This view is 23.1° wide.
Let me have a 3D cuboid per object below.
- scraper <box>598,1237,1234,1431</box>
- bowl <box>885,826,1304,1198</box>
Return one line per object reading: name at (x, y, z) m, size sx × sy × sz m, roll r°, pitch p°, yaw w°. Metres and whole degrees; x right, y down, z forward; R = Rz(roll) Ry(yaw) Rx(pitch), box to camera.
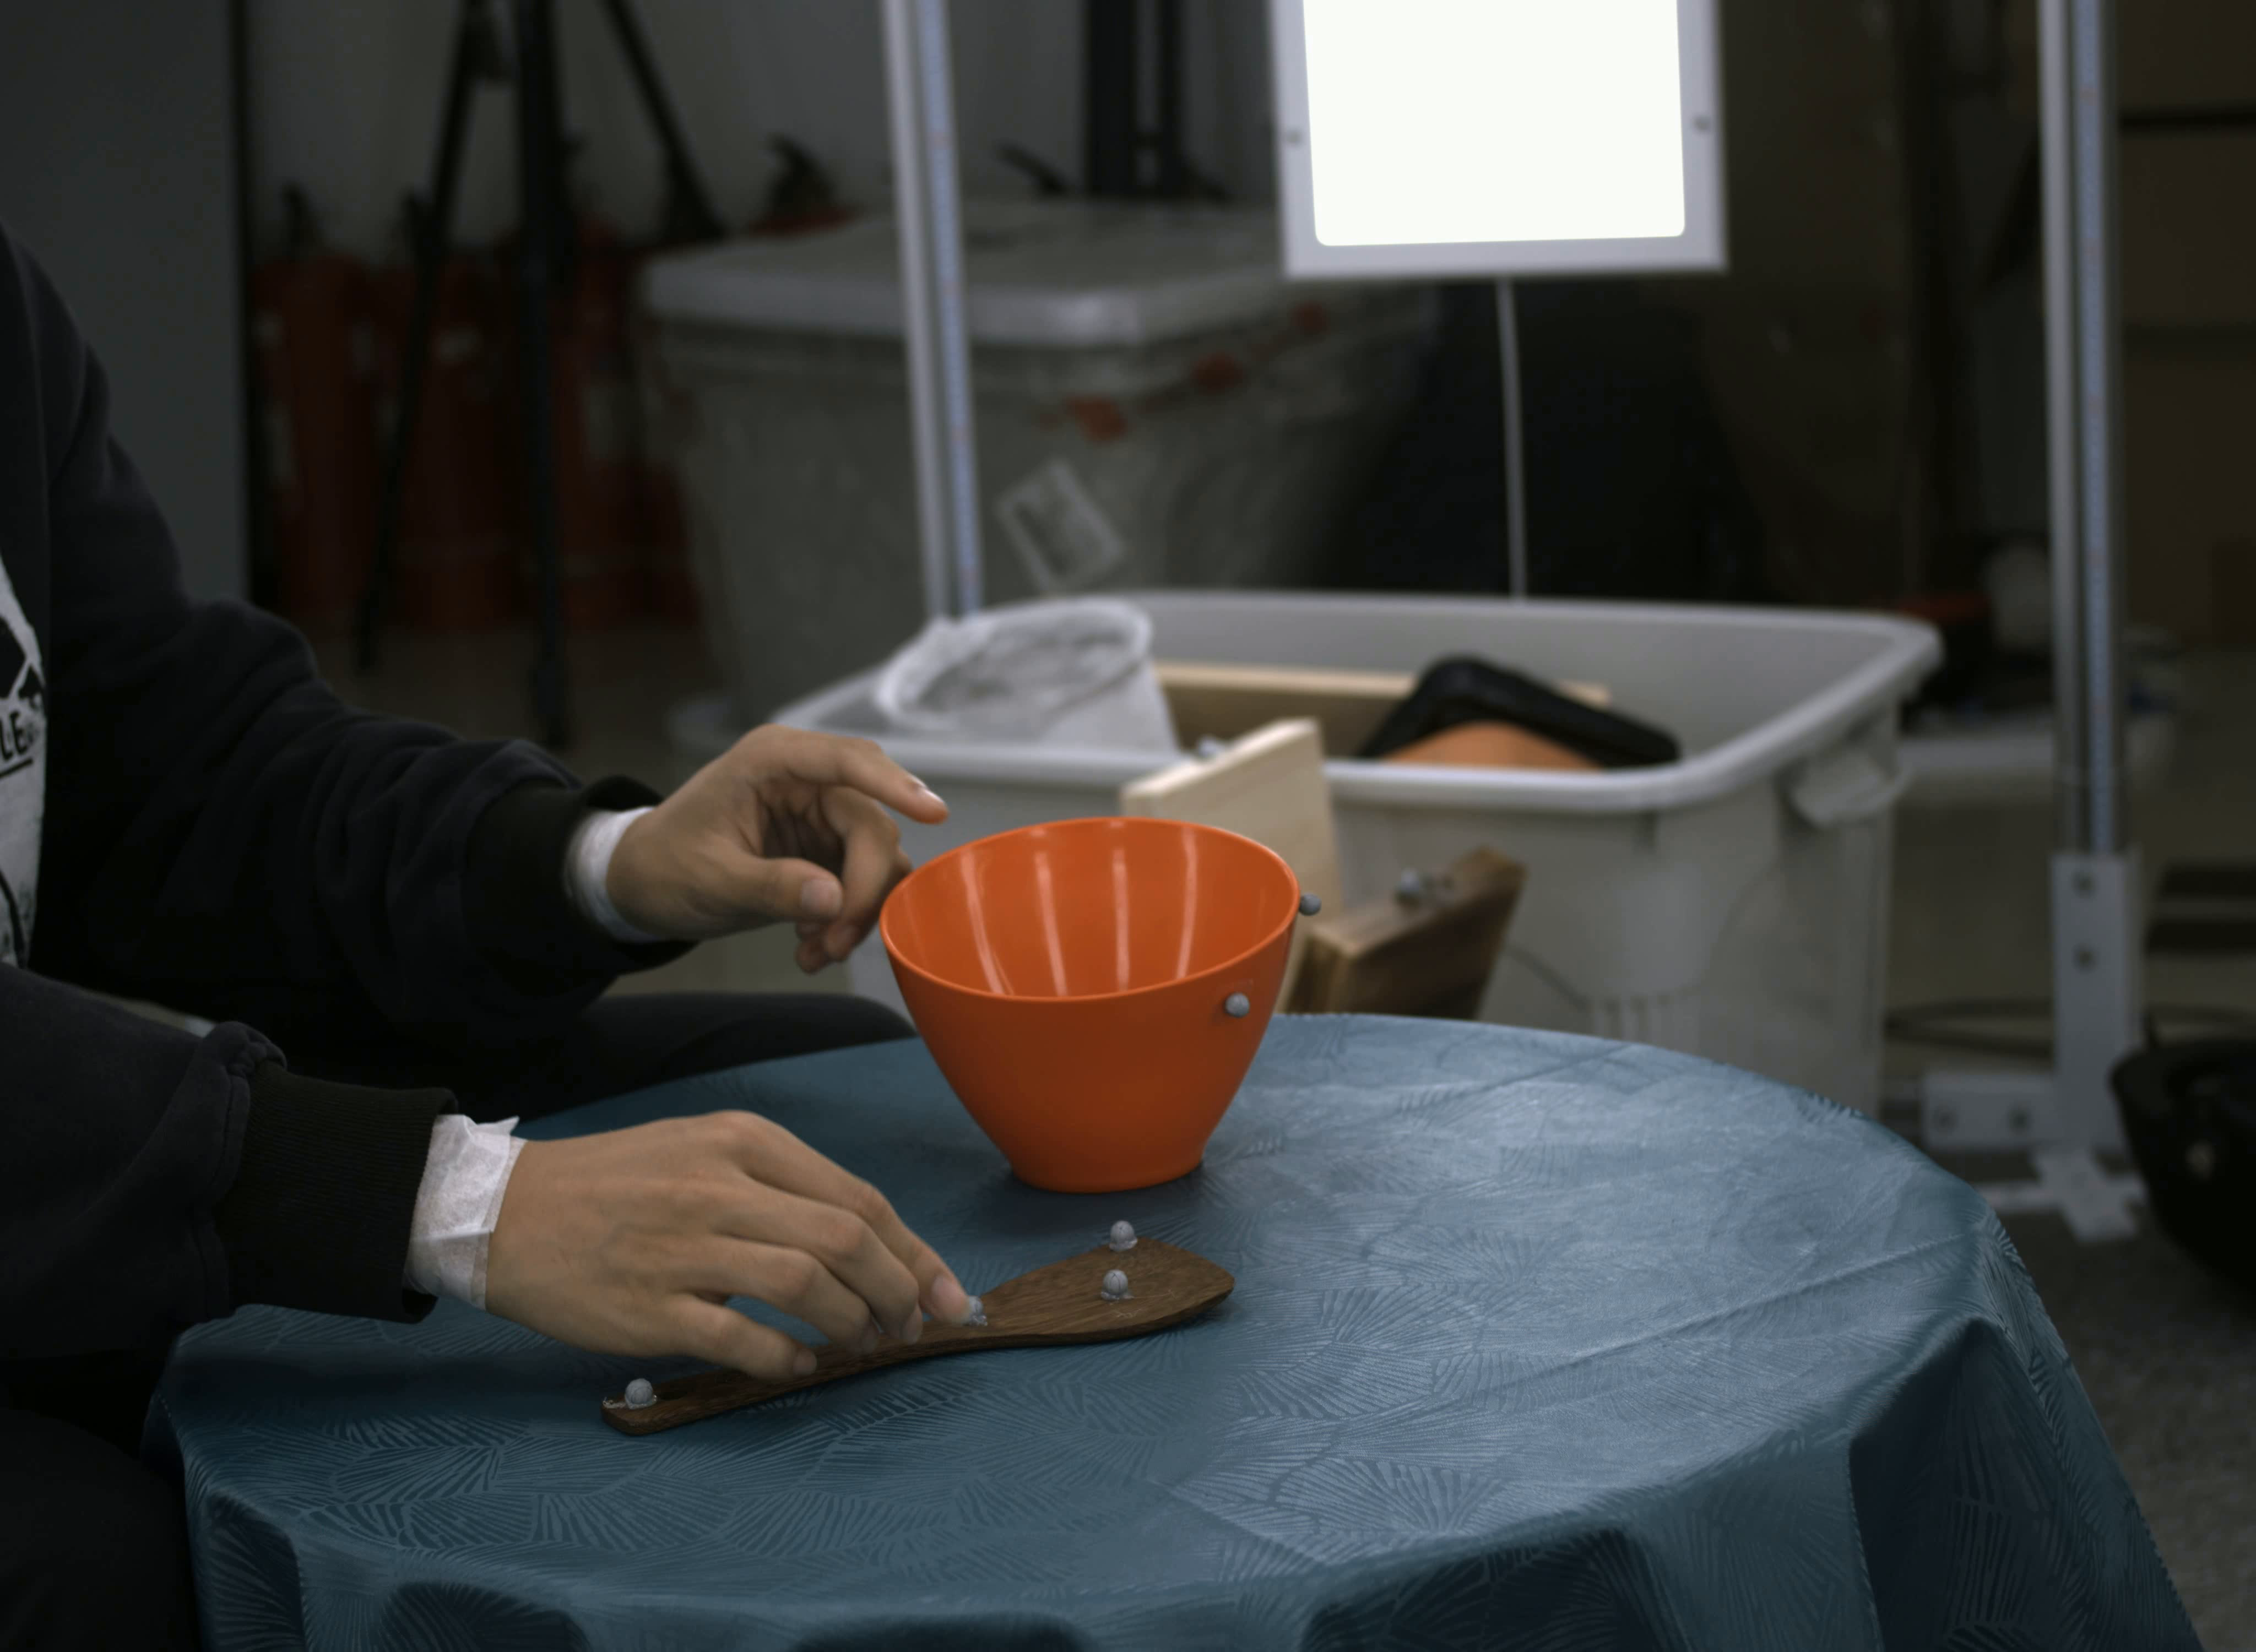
scraper at (-0.069, 0.164, 1.752) m, size 0.207 × 0.011 × 0.077 m, roll -12°, pitch 15°, yaw -24°
bowl at (-0.009, 0.068, 1.928) m, size 0.147 × 0.105 × 0.148 m, roll -5°, pitch 14°, yaw 0°
